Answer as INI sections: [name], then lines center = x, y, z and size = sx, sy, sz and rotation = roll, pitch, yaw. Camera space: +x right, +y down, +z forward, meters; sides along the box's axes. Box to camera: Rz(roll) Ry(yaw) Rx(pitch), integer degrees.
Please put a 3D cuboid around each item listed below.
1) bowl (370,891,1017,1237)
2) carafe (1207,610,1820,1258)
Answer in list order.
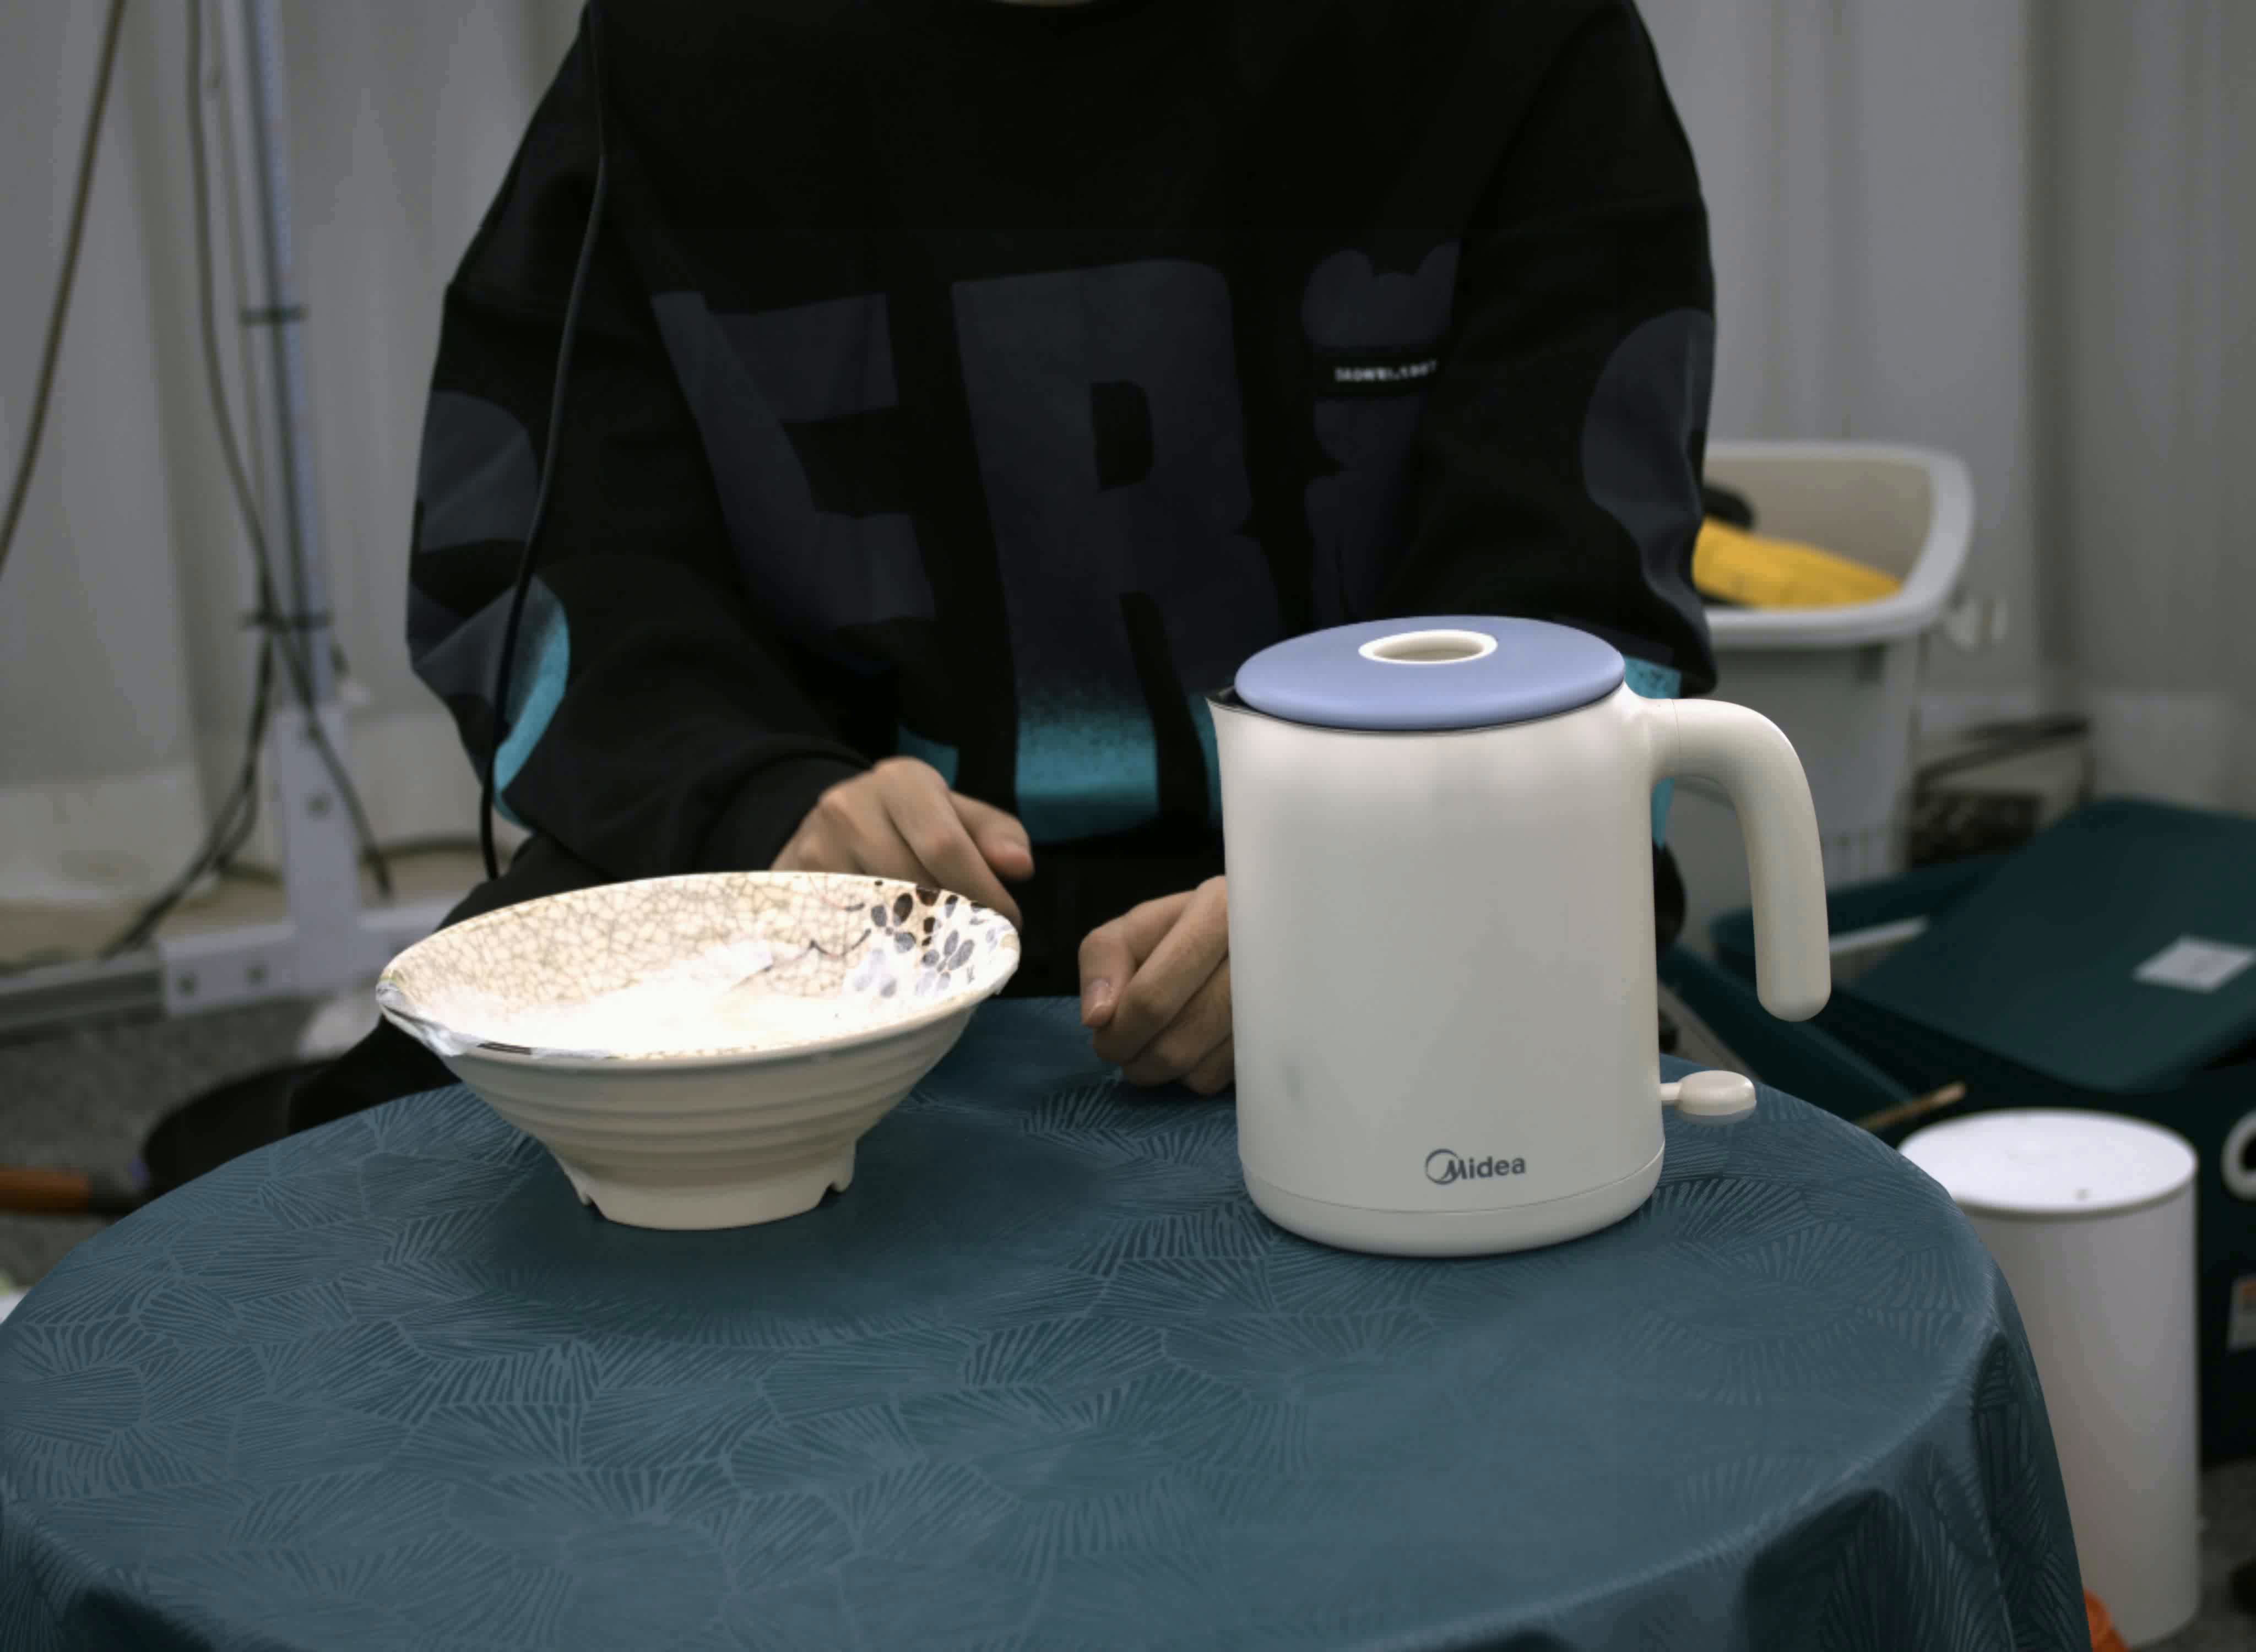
[bowl]
center = -0.135, 0.081, 1.728
size = 0.203, 0.078, 0.205
rotation = -2, 12, 0
[carafe]
center = 0.119, 0.031, 1.676
size = 0.190, 0.182, 0.133
rotation = -2, 15, -5
